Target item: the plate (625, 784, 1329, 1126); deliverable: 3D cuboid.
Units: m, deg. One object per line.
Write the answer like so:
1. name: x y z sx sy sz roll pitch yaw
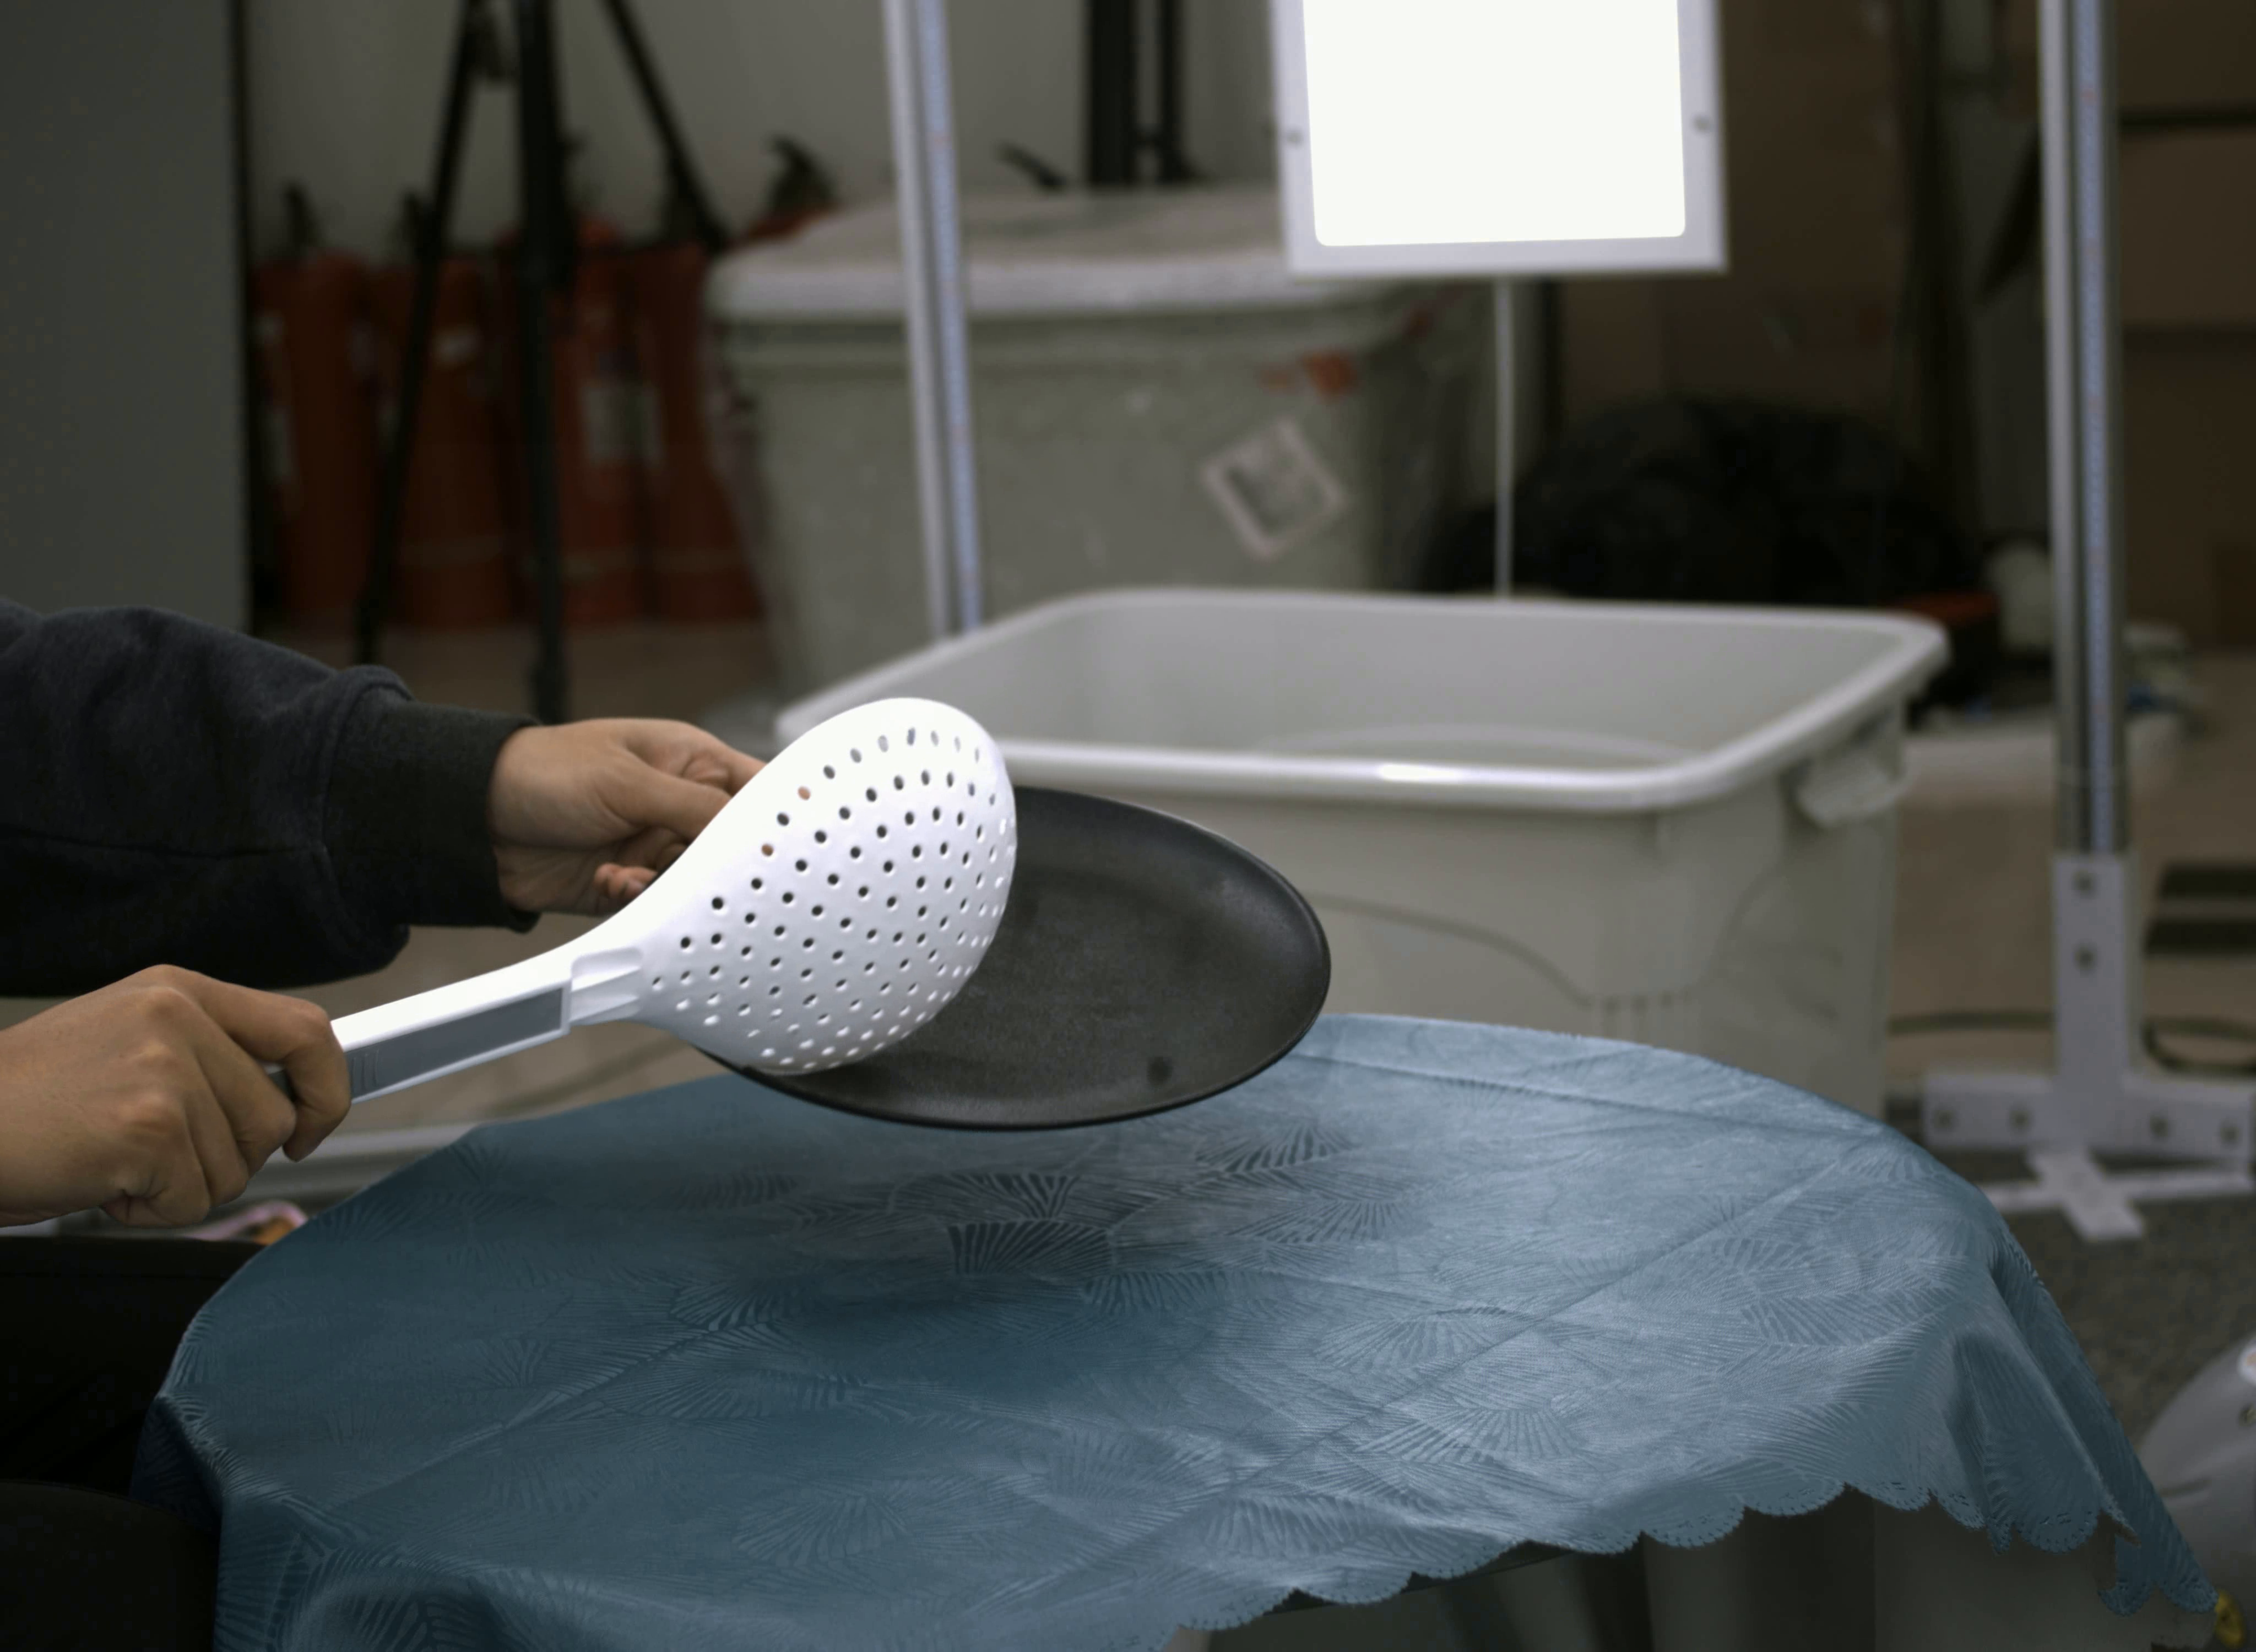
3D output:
1. plate: -0.052 0.049 1.899 0.243 0.023 0.244 2 27 -2

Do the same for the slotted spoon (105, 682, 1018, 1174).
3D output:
1. slotted spoon: -0.169 0.046 1.746 0.342 0.137 0.046 -15 37 -30
